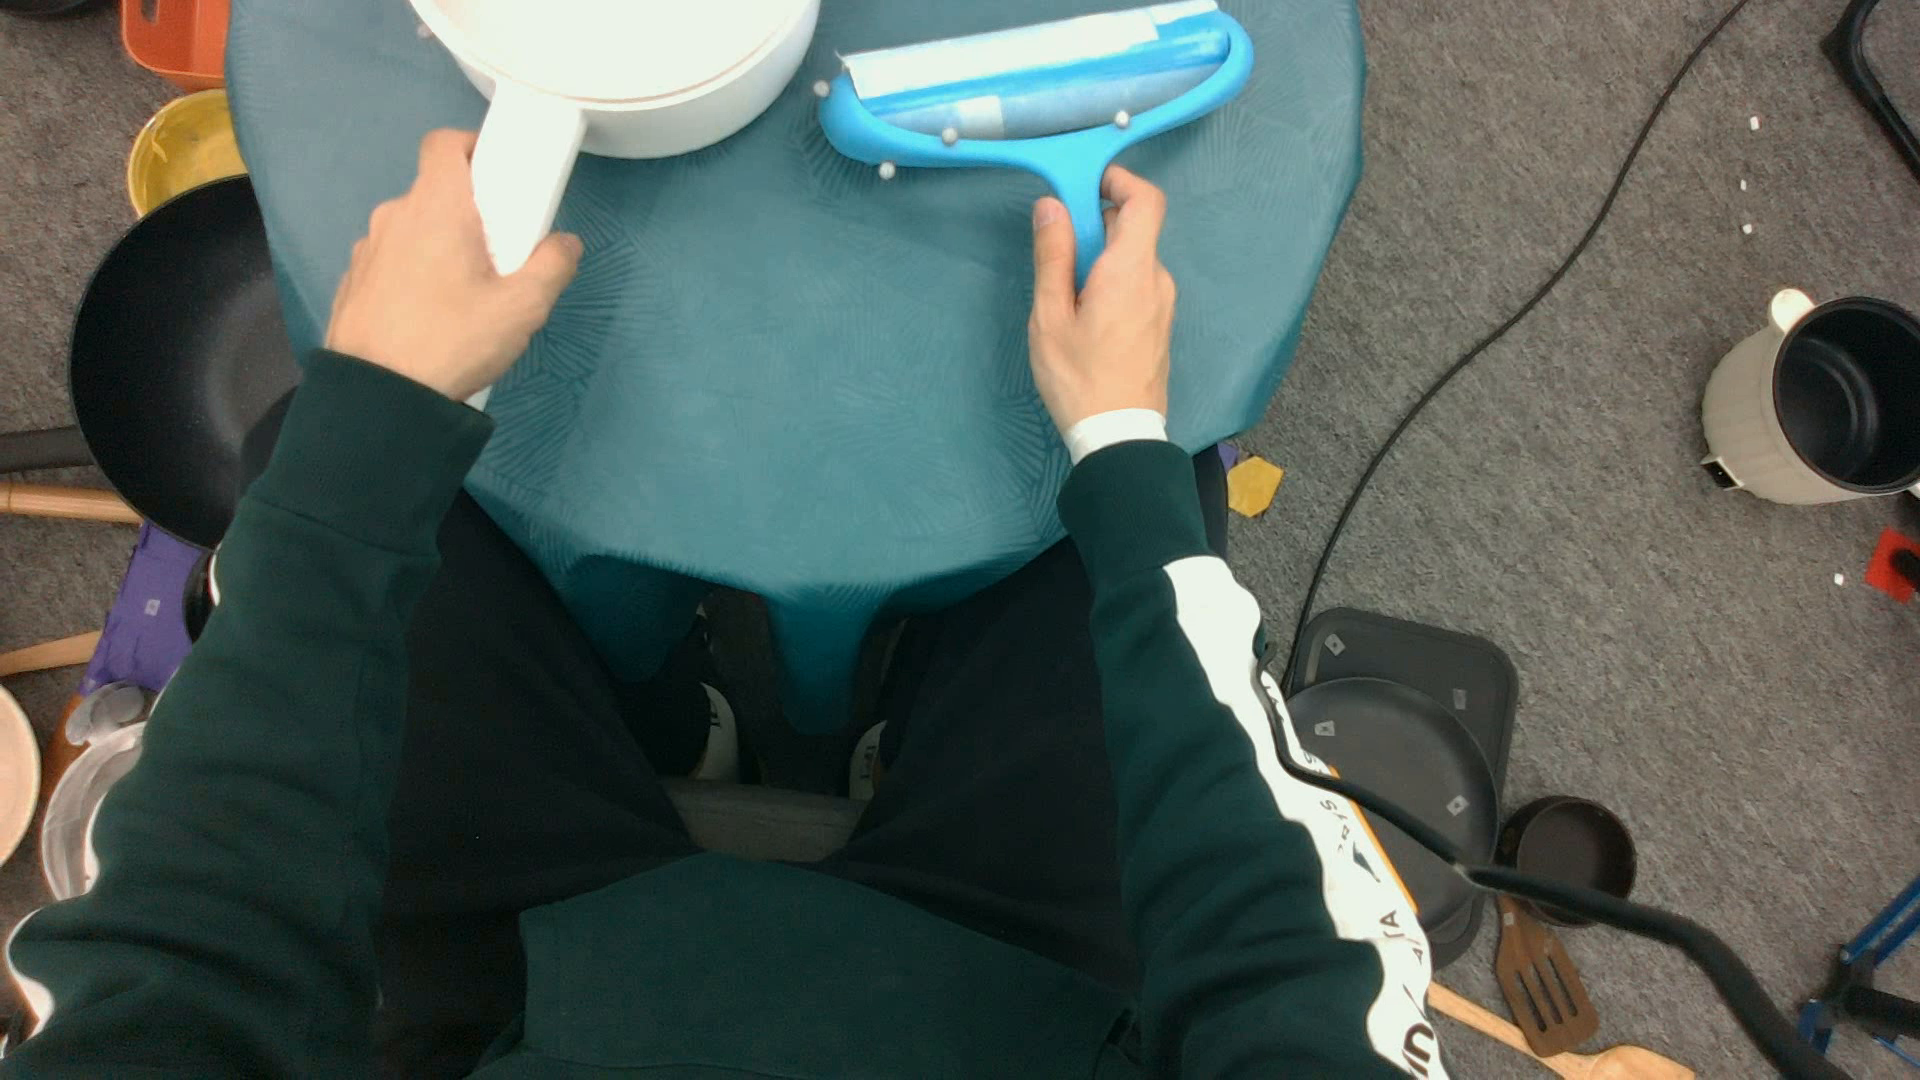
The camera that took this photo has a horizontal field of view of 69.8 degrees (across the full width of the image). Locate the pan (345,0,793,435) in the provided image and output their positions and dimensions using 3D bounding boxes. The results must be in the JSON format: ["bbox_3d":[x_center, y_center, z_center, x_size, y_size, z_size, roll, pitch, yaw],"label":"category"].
[{"bbox_3d":[-0.201,-0.218,0.662,0.201,0.102,0.355,18,83,-6],"label":"pan"}]

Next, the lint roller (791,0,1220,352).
[{"bbox_3d":[0.044,-0.190,0.703,0.229,0.067,0.180,-16,76,-11],"label":"lint roller"}]
